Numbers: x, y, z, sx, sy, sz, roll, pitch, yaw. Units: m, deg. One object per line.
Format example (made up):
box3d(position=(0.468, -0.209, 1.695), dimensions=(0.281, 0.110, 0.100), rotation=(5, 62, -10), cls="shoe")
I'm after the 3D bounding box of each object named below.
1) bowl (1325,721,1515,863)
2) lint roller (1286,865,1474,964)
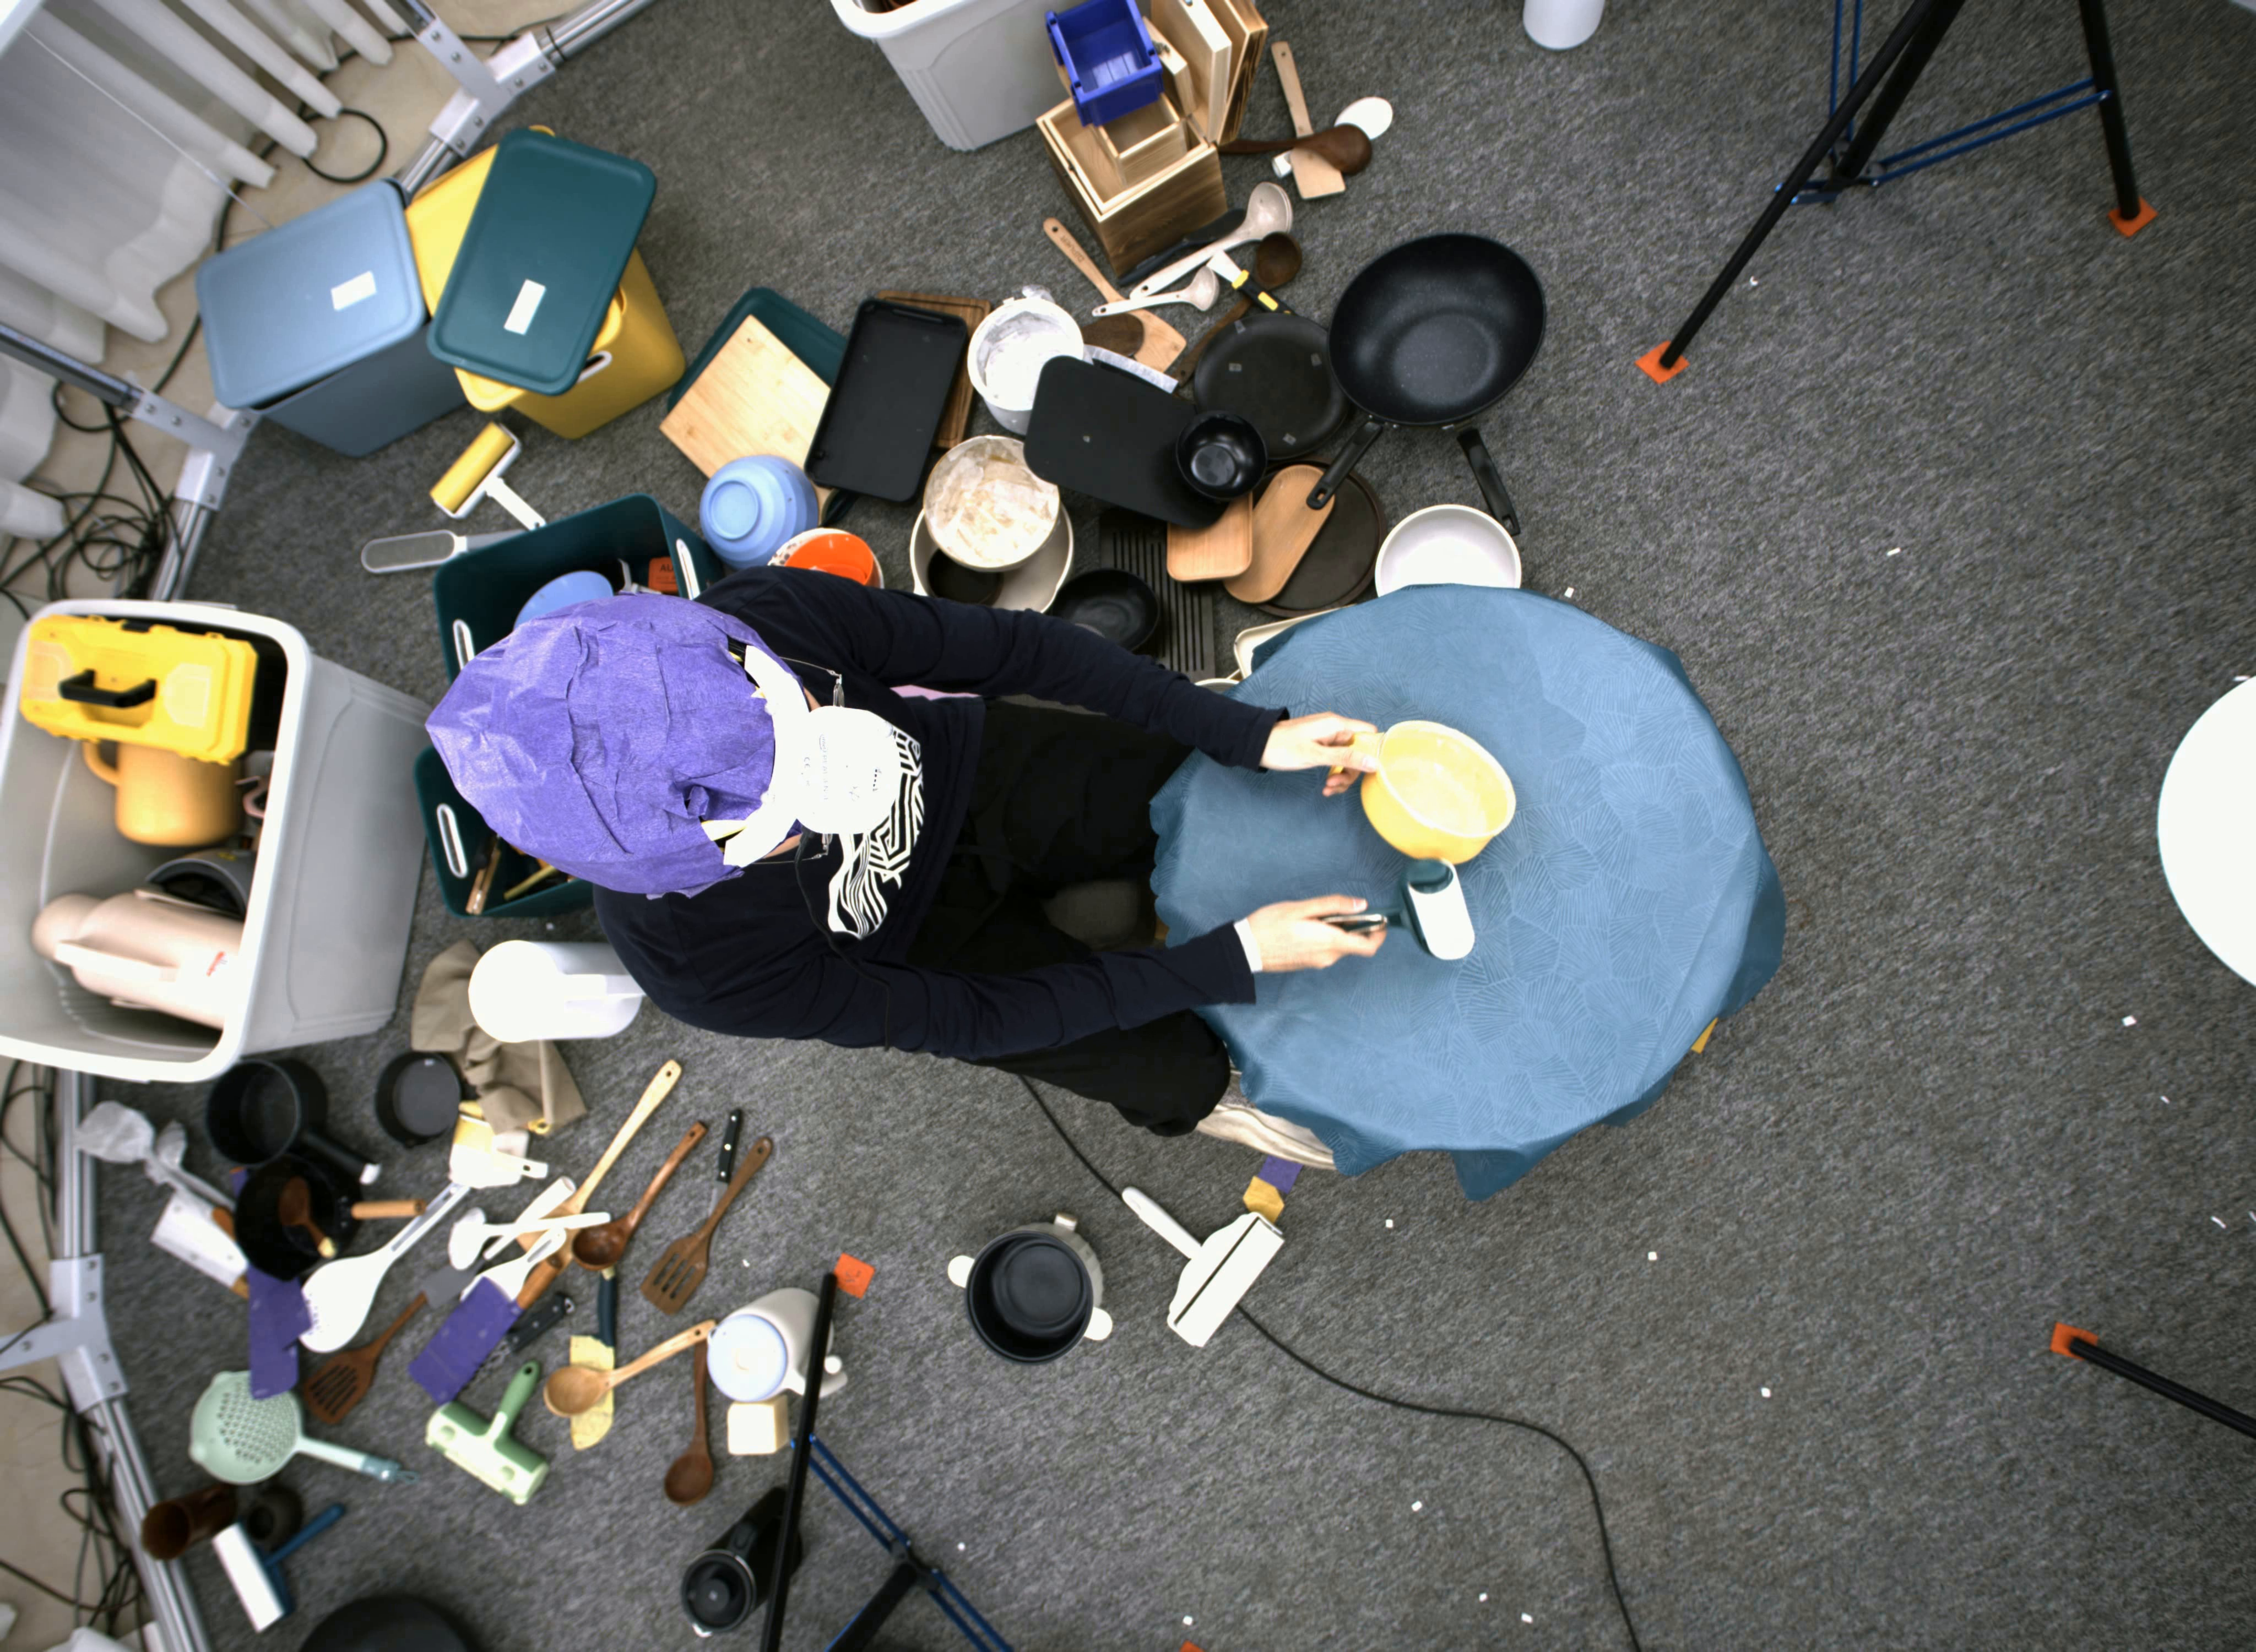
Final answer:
box3d(position=(0.295, -0.038, 1.394), dimensions=(0.179, 0.076, 0.149), rotation=(20, 49, -6), cls="bowl")
box3d(position=(0.243, 0.099, 1.367), dimensions=(0.182, 0.137, 0.047), rotation=(-13, 47, 18), cls="lint roller")
